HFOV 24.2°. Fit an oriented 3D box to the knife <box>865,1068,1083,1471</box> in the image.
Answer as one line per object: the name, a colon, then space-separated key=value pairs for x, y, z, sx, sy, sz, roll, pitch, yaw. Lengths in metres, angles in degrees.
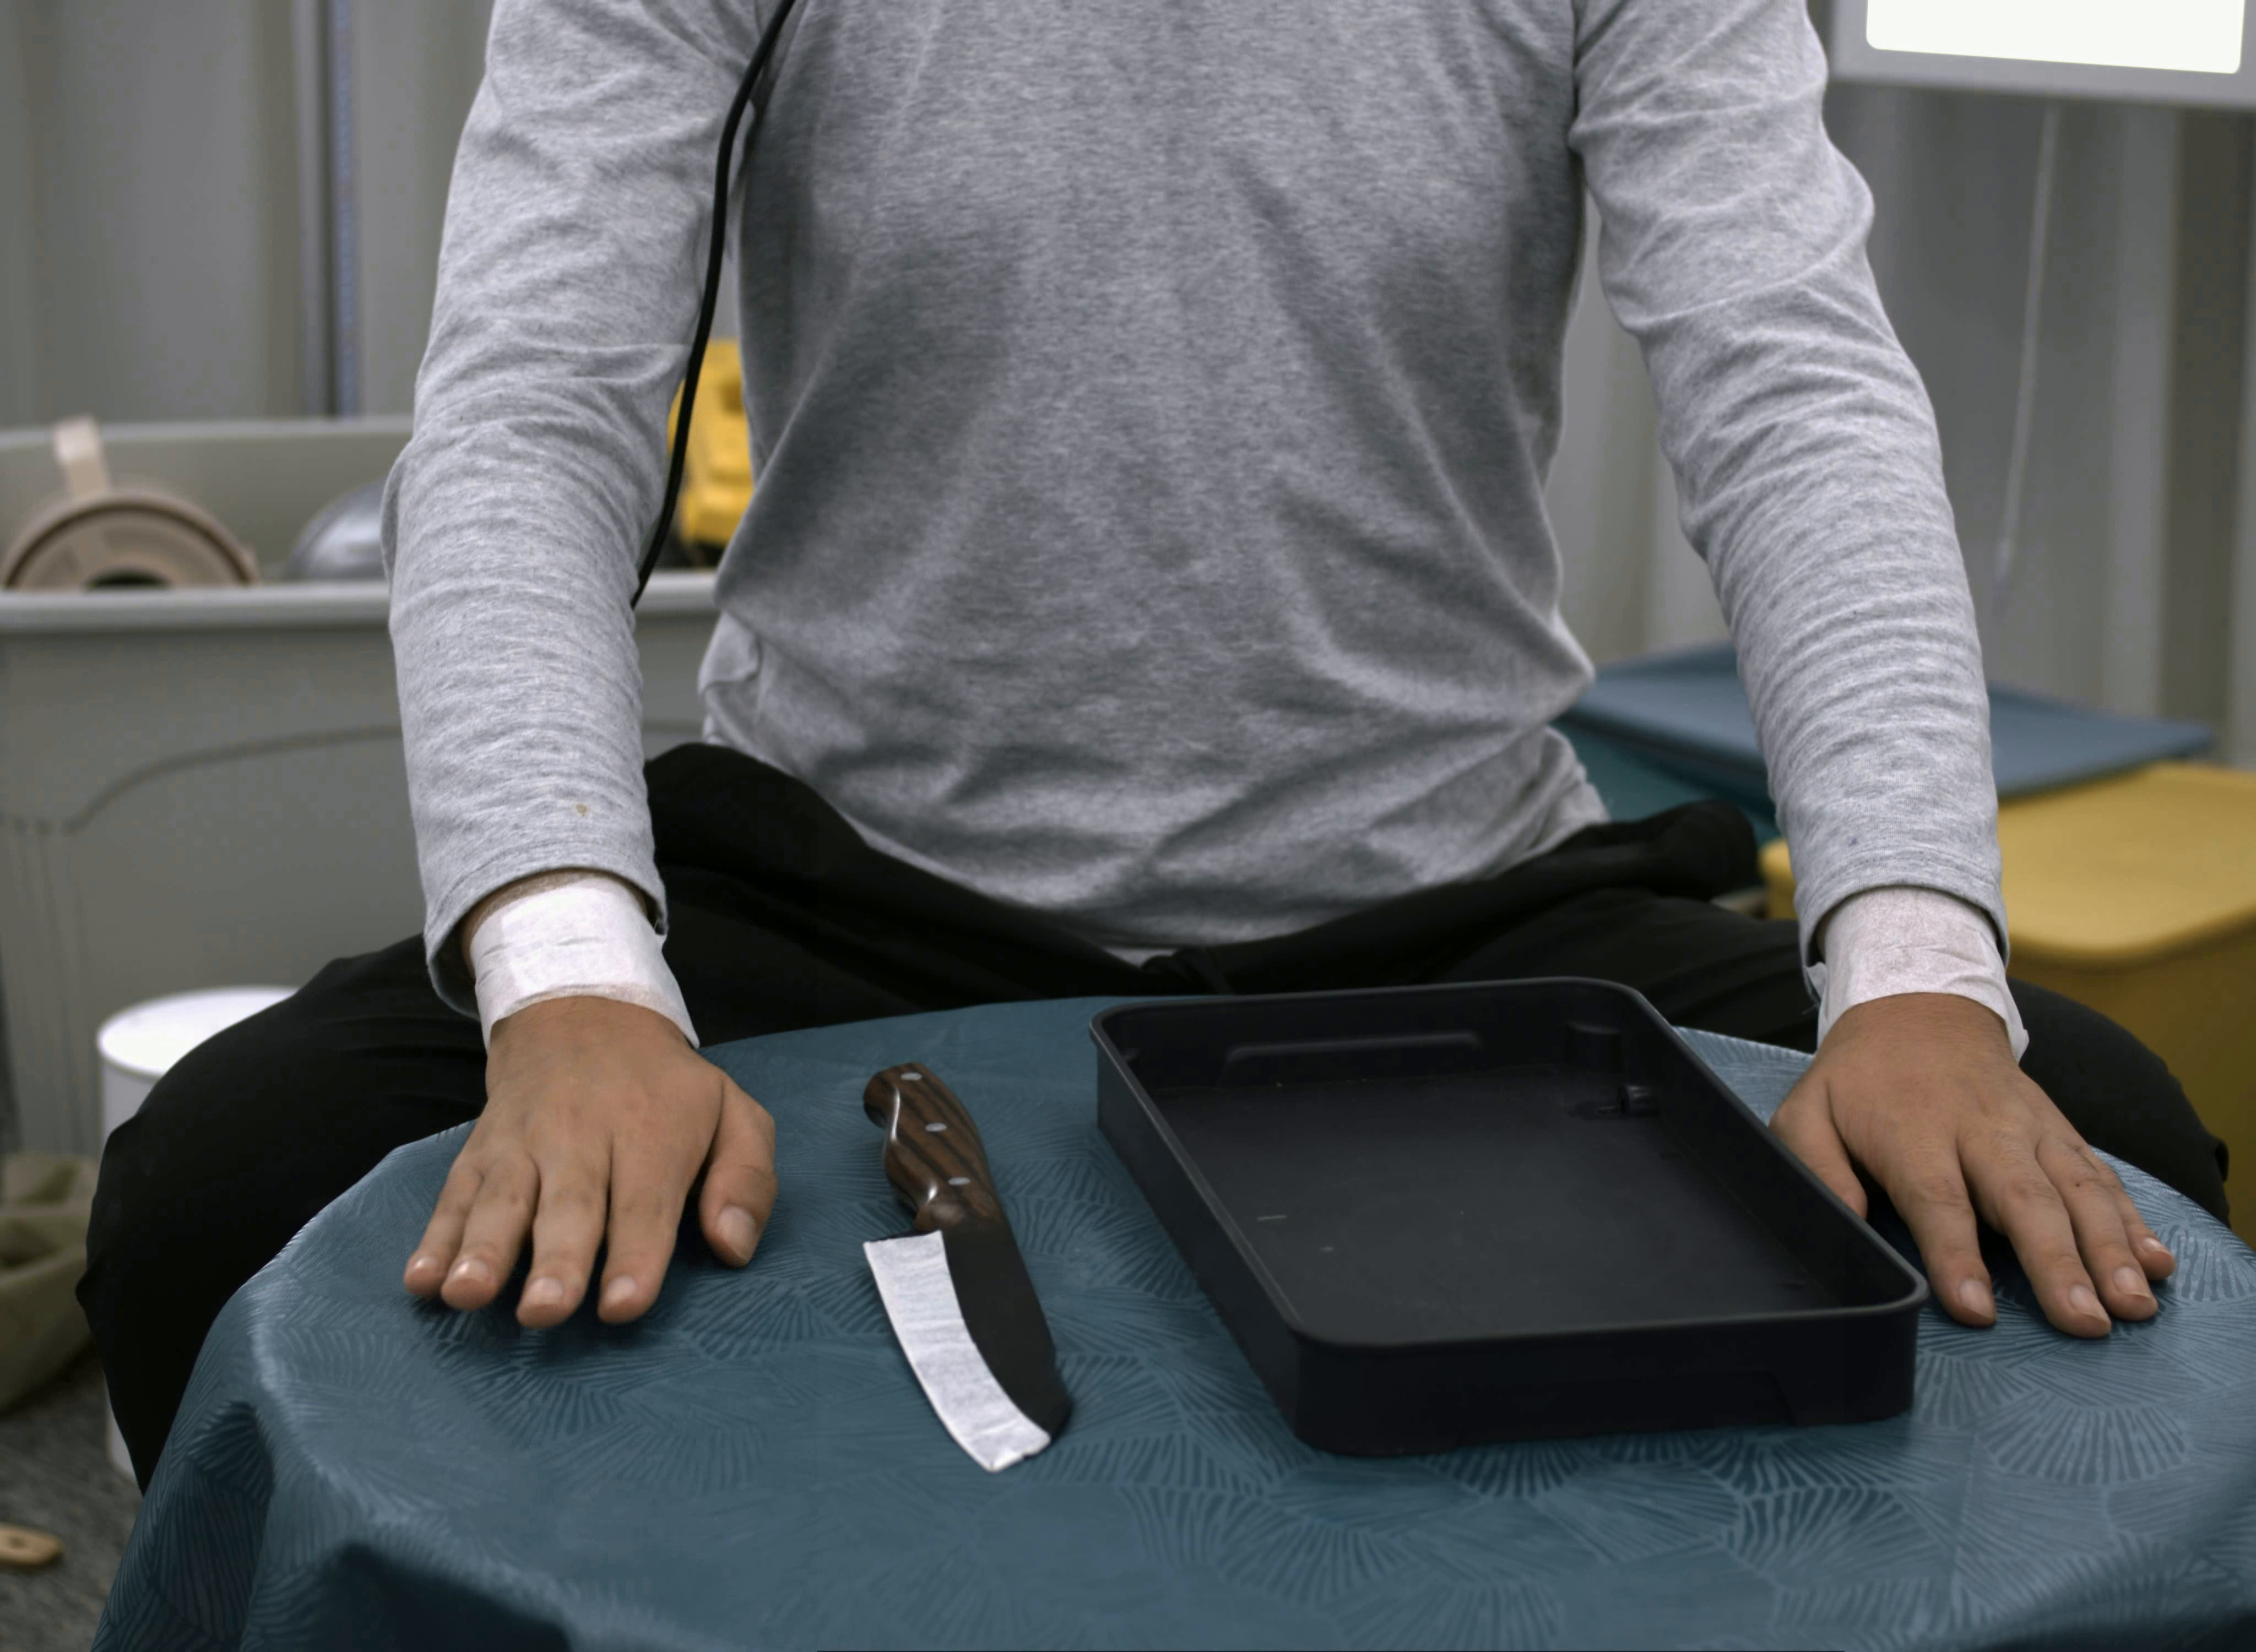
knife: x=-0.051 y=0.128 z=1.539 sx=0.050 sy=0.020 sz=0.286 roll=-6 pitch=18 yaw=-6

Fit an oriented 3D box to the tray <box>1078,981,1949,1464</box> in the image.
tray: x=0.105 y=0.111 z=1.566 sx=0.184 sy=0.037 sz=0.315 roll=-3 pitch=15 yaw=-13
